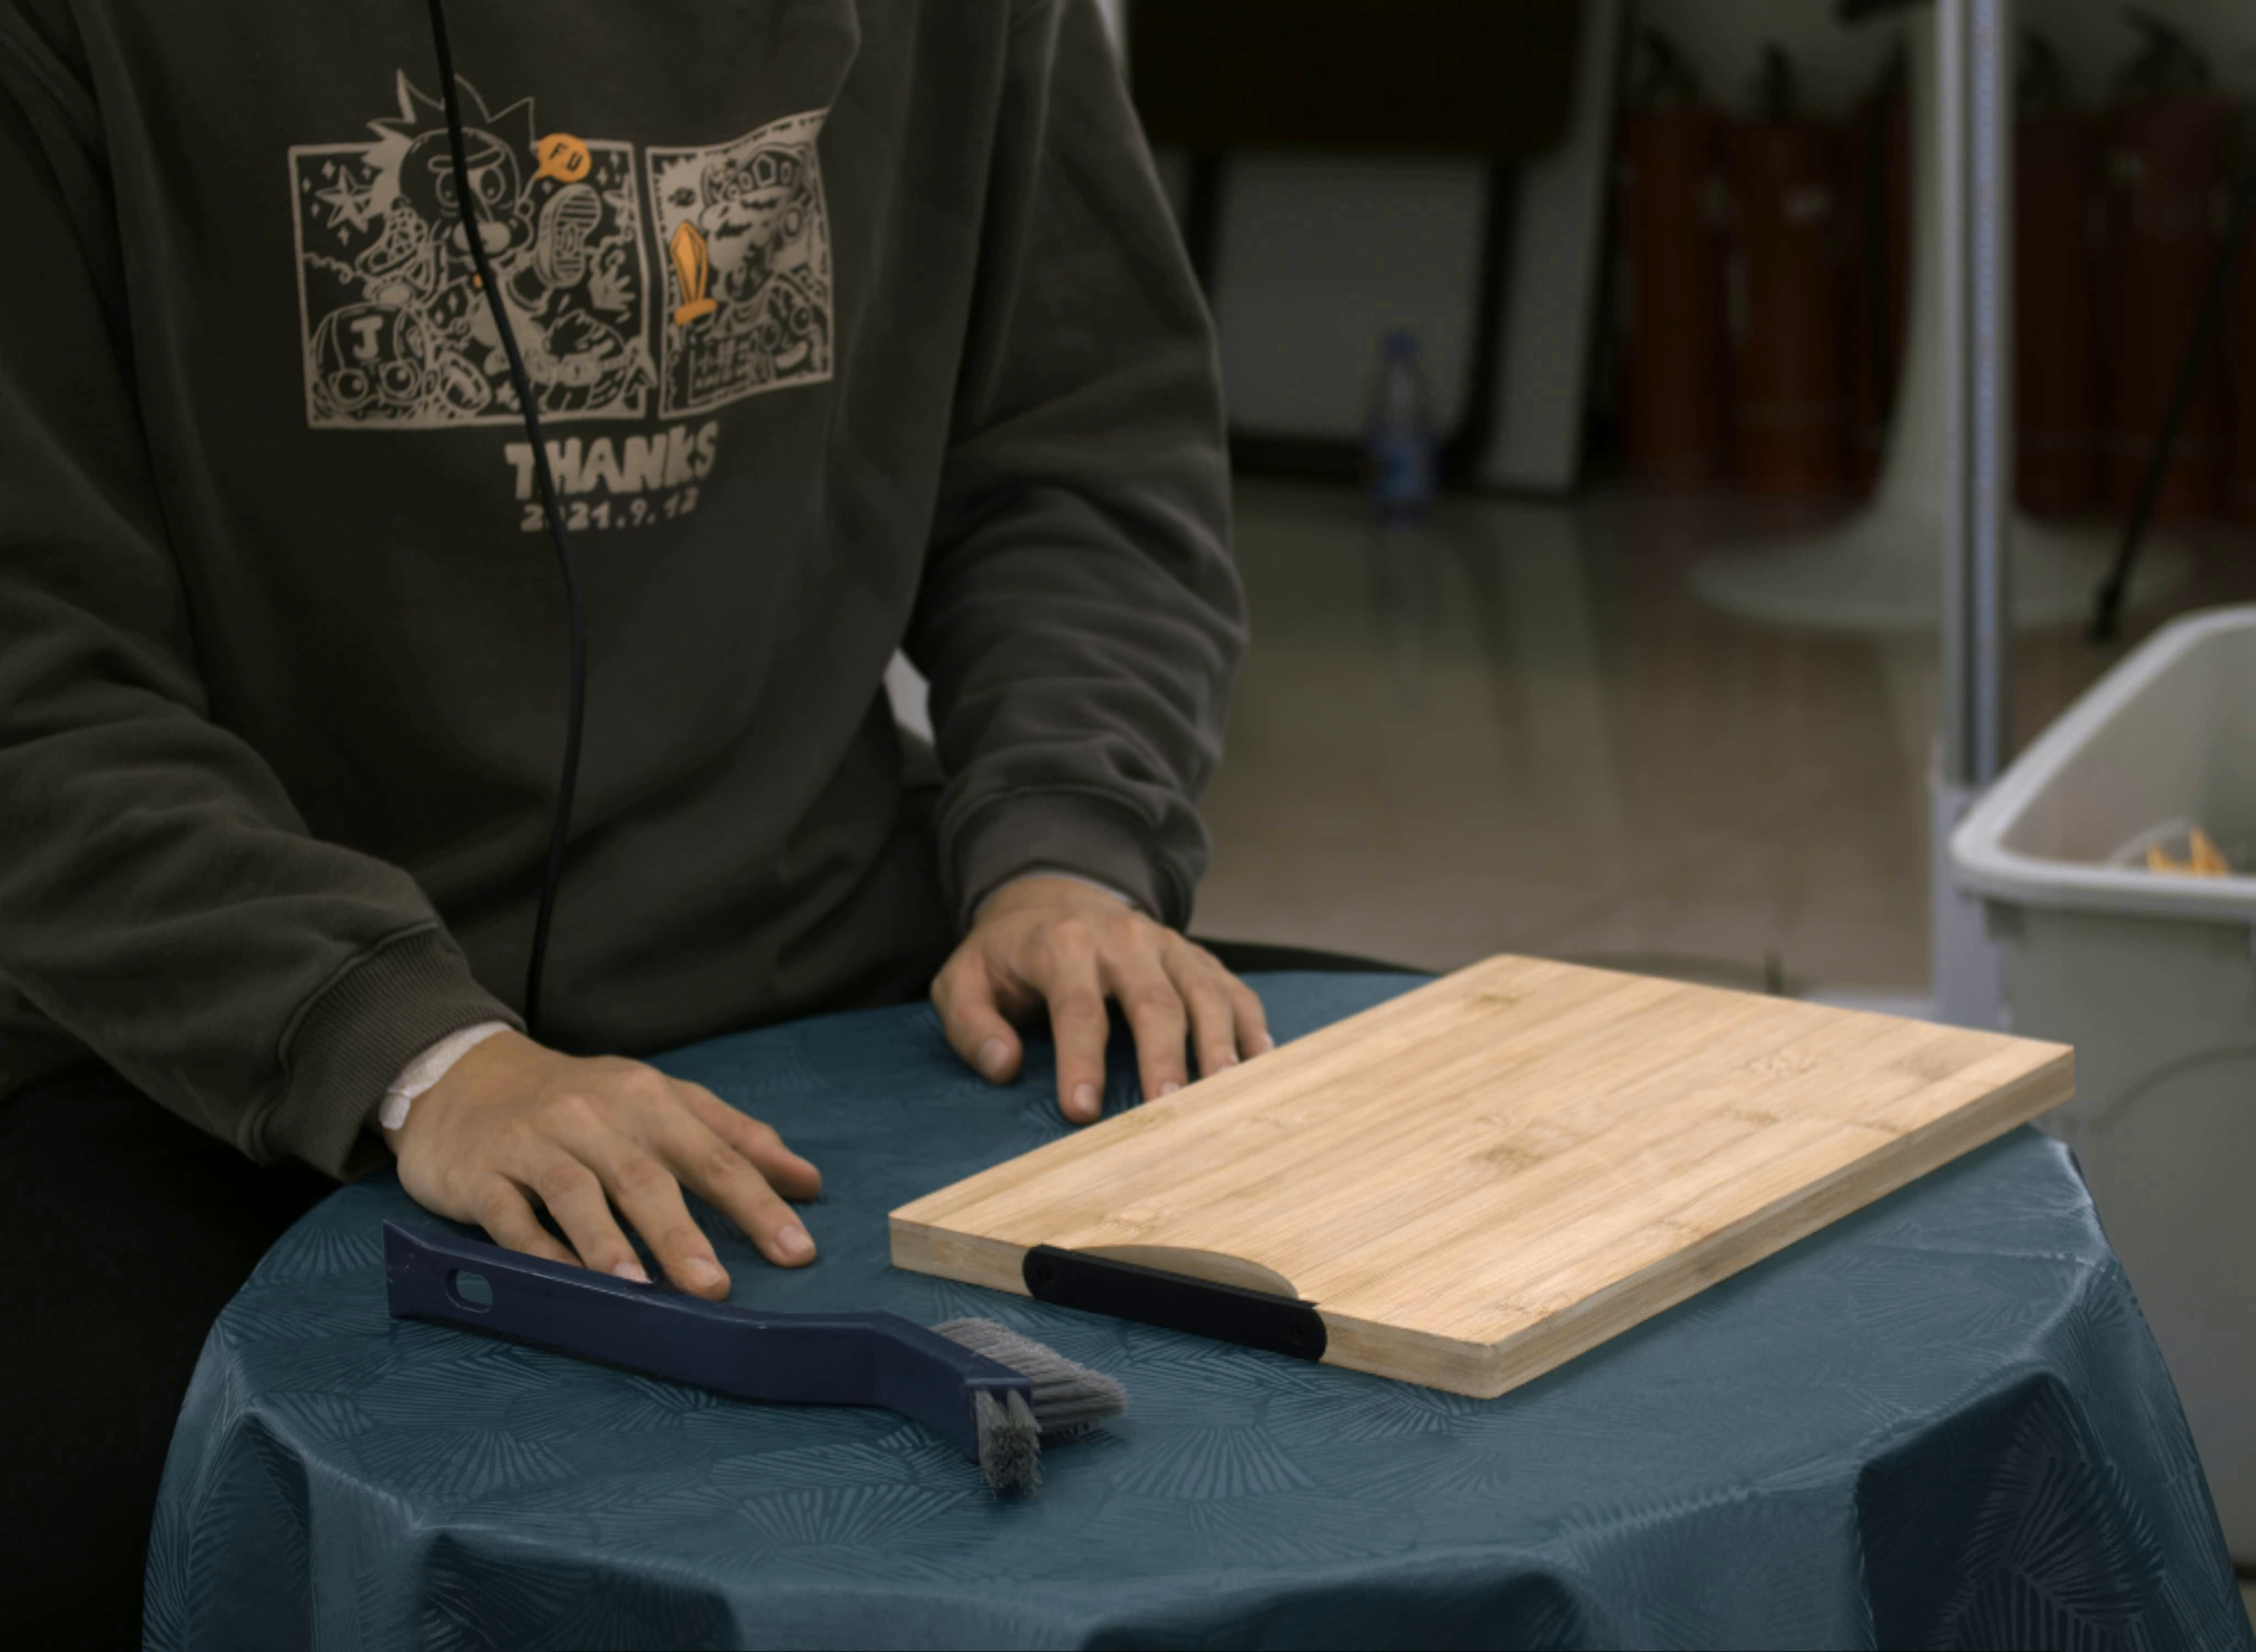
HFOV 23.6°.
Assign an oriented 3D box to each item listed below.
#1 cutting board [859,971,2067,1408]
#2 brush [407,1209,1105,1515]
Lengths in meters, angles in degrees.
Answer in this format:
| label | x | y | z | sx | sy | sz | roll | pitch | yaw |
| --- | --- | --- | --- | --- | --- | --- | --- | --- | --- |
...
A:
| label | x | y | z | sx | sy | sz | roll | pitch | yaw |
| --- | --- | --- | --- | --- | --- | --- | --- | --- | --- |
| cutting board | 0.116 | 0.111 | 1.751 | 0.252 | 0.024 | 0.342 | 6 | 17 | 39 |
| brush | -0.127 | 0.156 | 1.605 | 0.274 | 0.034 | 0.094 | 6 | 17 | 33 |
